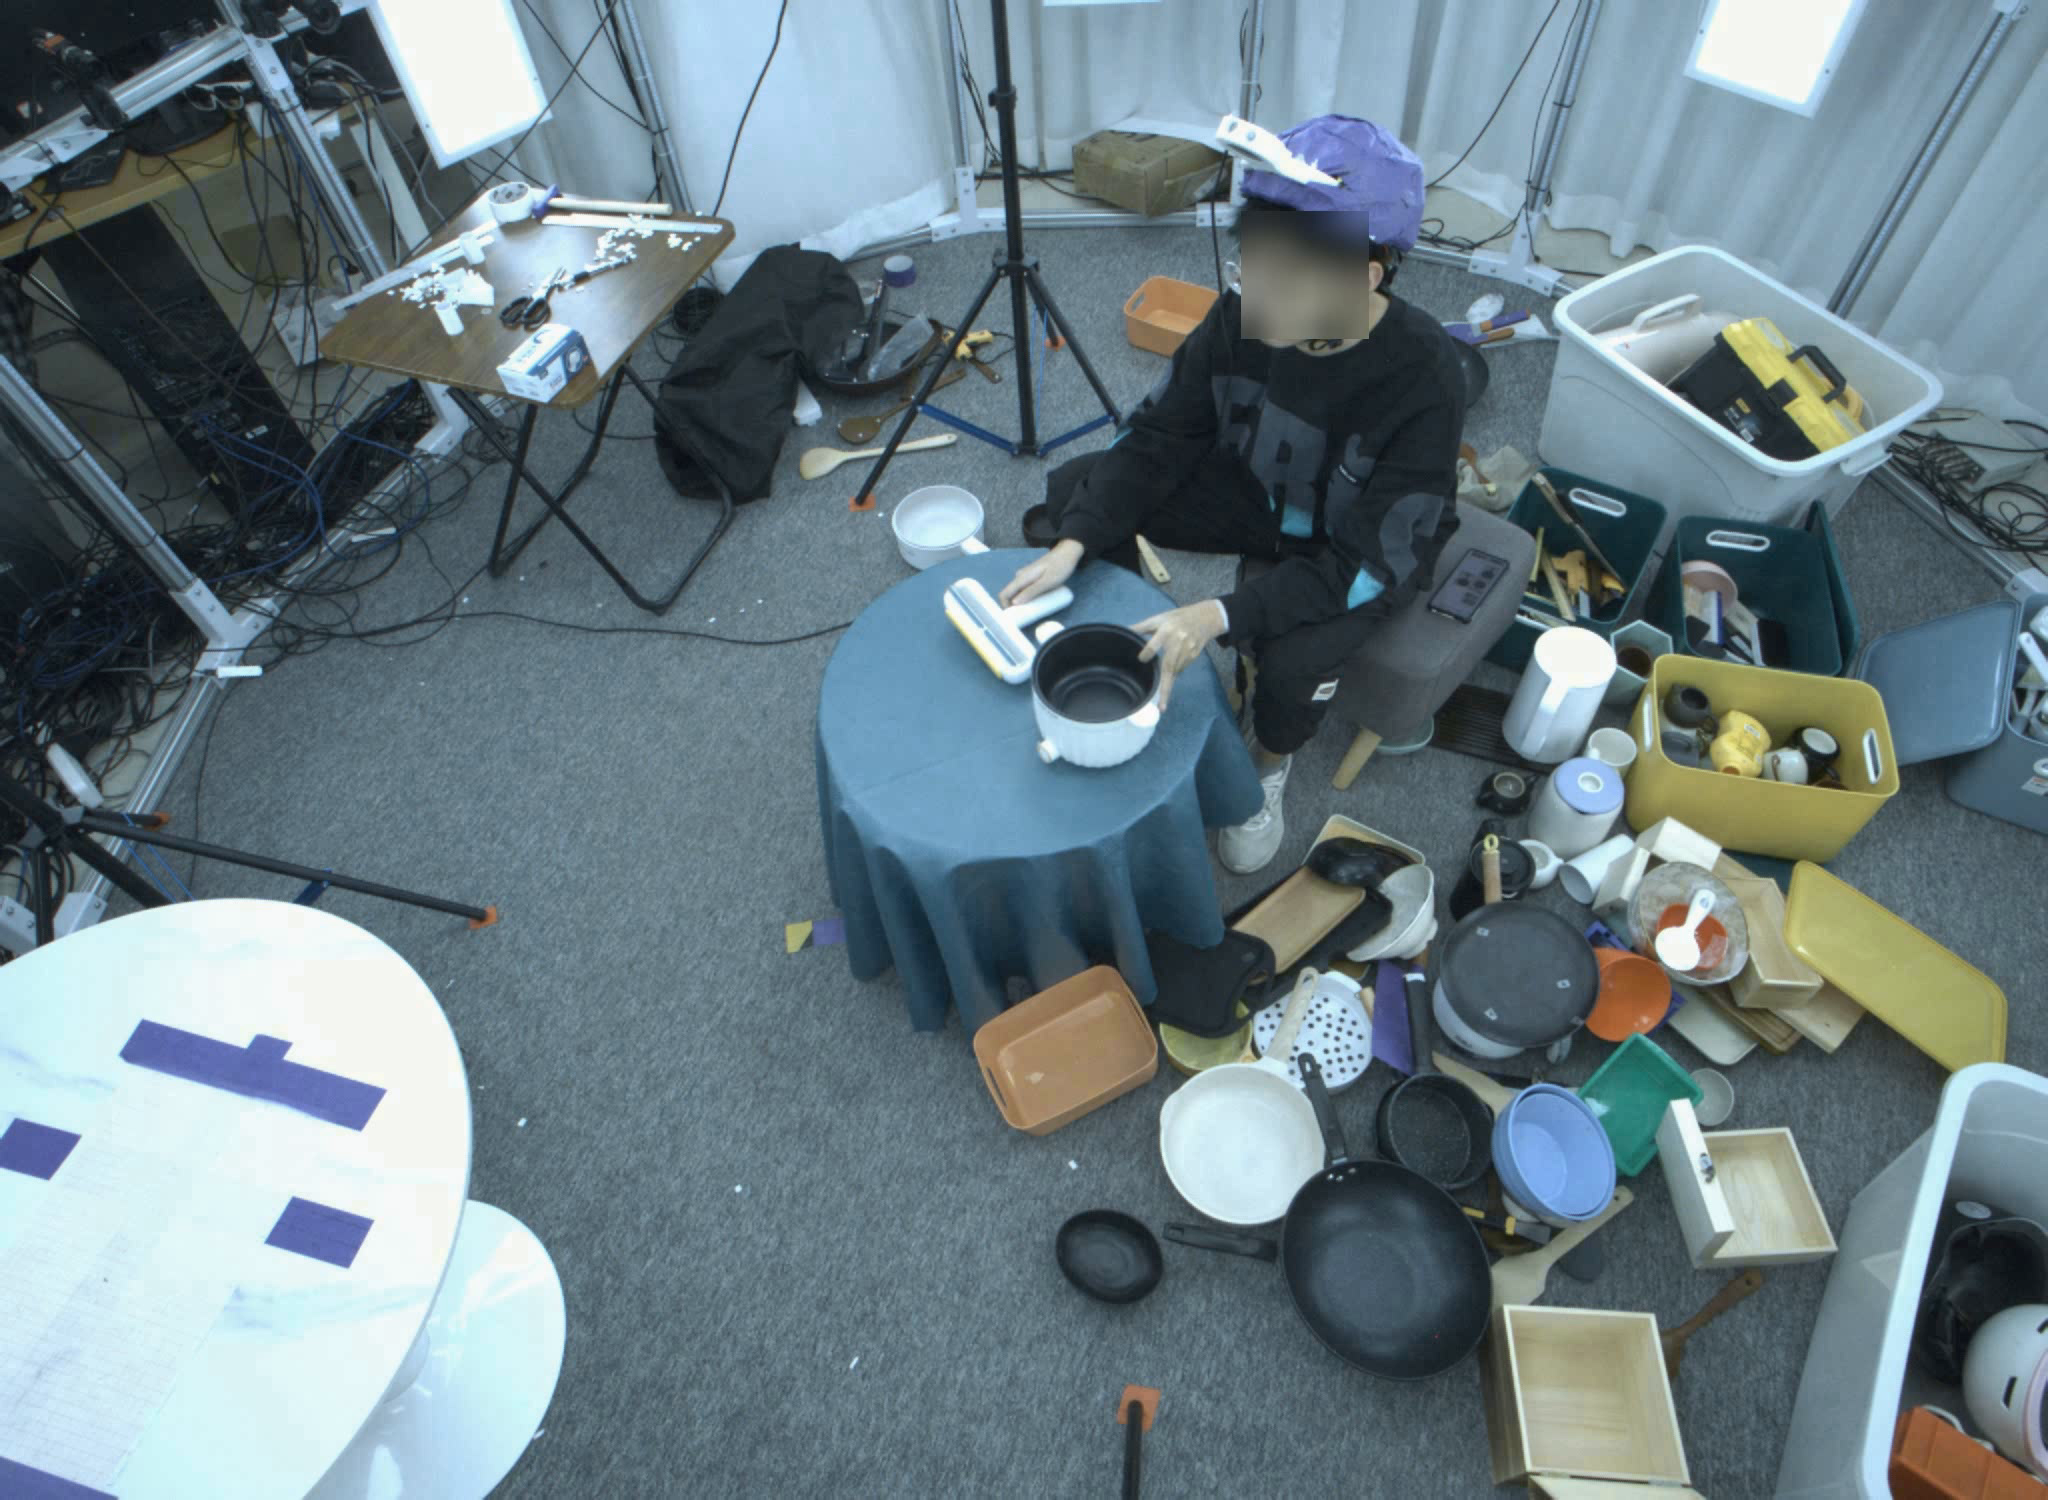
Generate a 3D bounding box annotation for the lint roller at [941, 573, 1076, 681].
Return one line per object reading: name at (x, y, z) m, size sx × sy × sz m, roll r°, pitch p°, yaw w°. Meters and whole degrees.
lint roller at (-0.005, -0.211, 1.885) m, size 0.193 × 0.075 × 0.190 m, roll -31°, pitch 65°, yaw -14°

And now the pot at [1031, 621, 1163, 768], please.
pot at (0.100, -0.067, 1.740) m, size 0.192 × 0.144 × 0.236 m, roll -34°, pitch 58°, yaw -23°
